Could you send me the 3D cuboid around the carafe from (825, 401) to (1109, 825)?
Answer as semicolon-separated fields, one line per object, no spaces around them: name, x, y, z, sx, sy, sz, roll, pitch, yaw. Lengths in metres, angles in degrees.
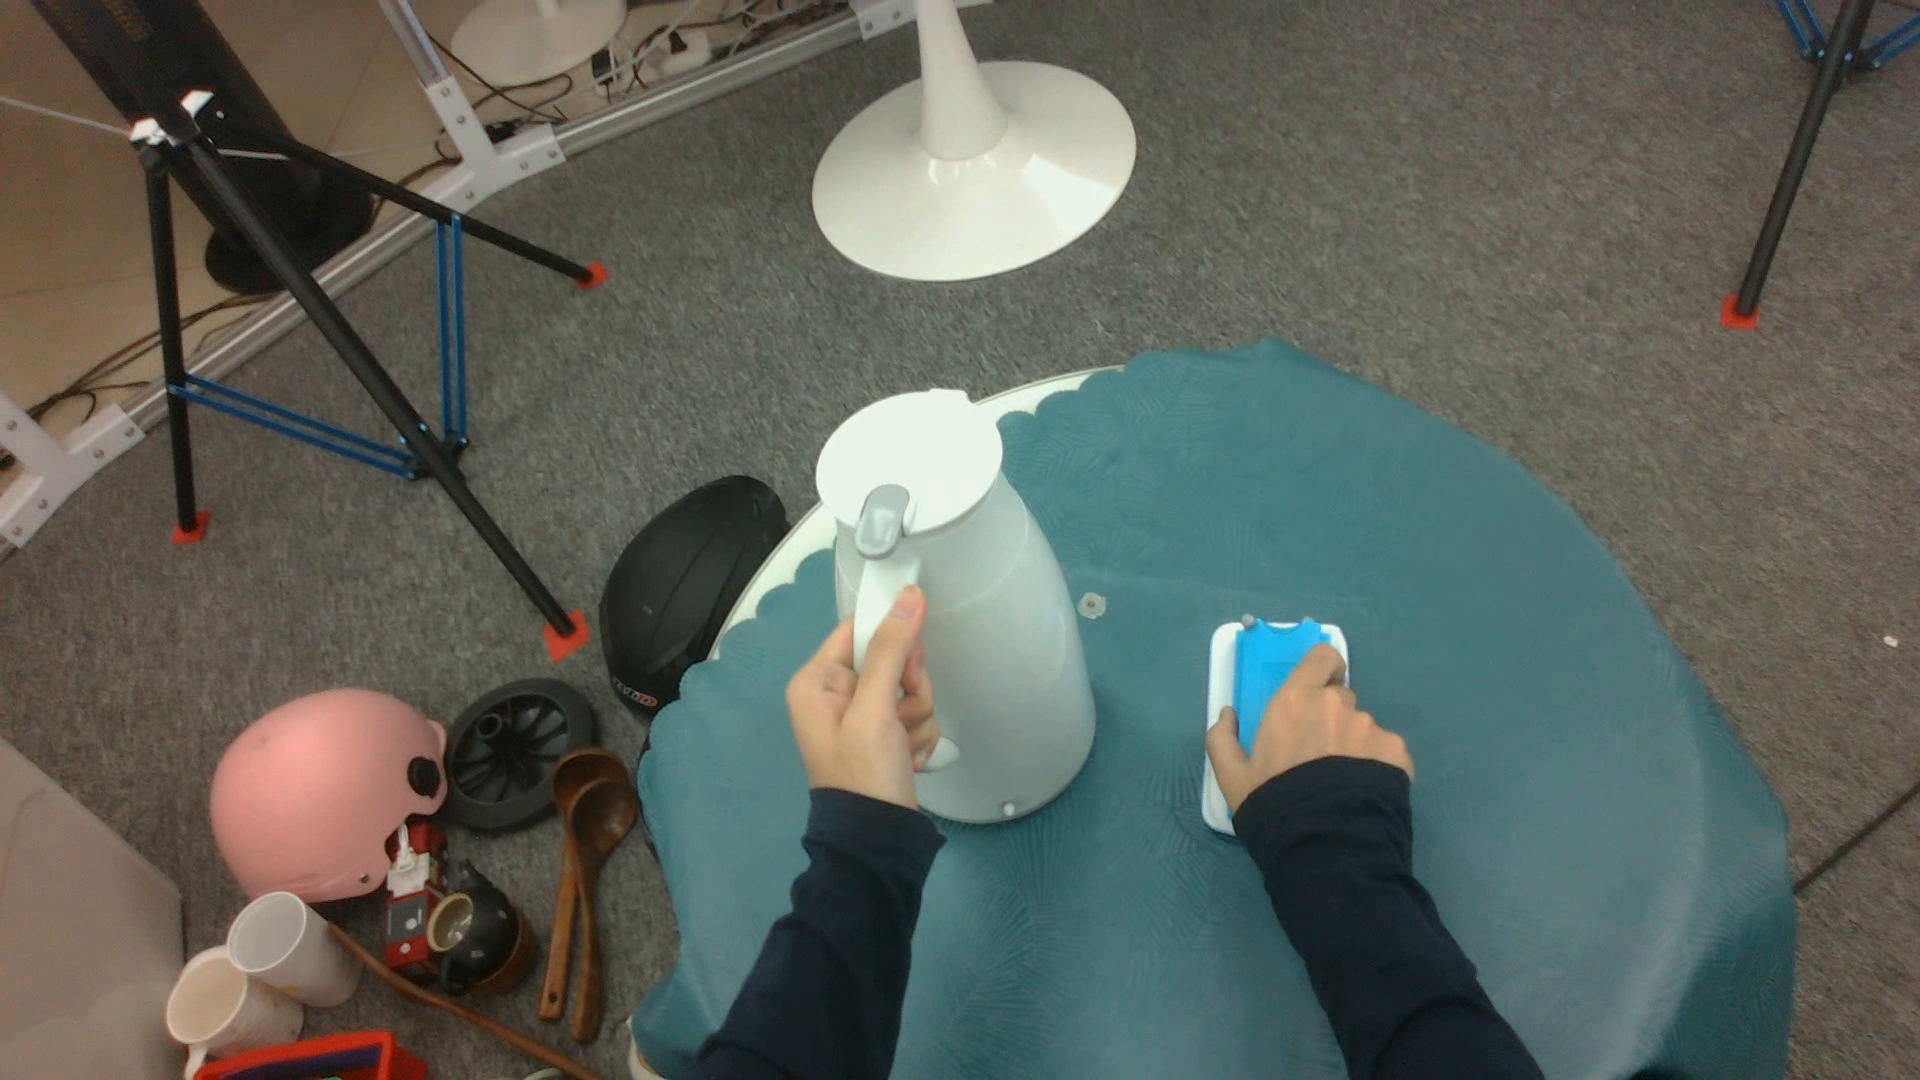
carafe;-0.001;0.055;0.746;0.132;0.247;0.168;2;52;16

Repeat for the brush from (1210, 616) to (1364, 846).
brush;0.187;0.101;0.786;0.084;0.056;0.144;-1;51;19
